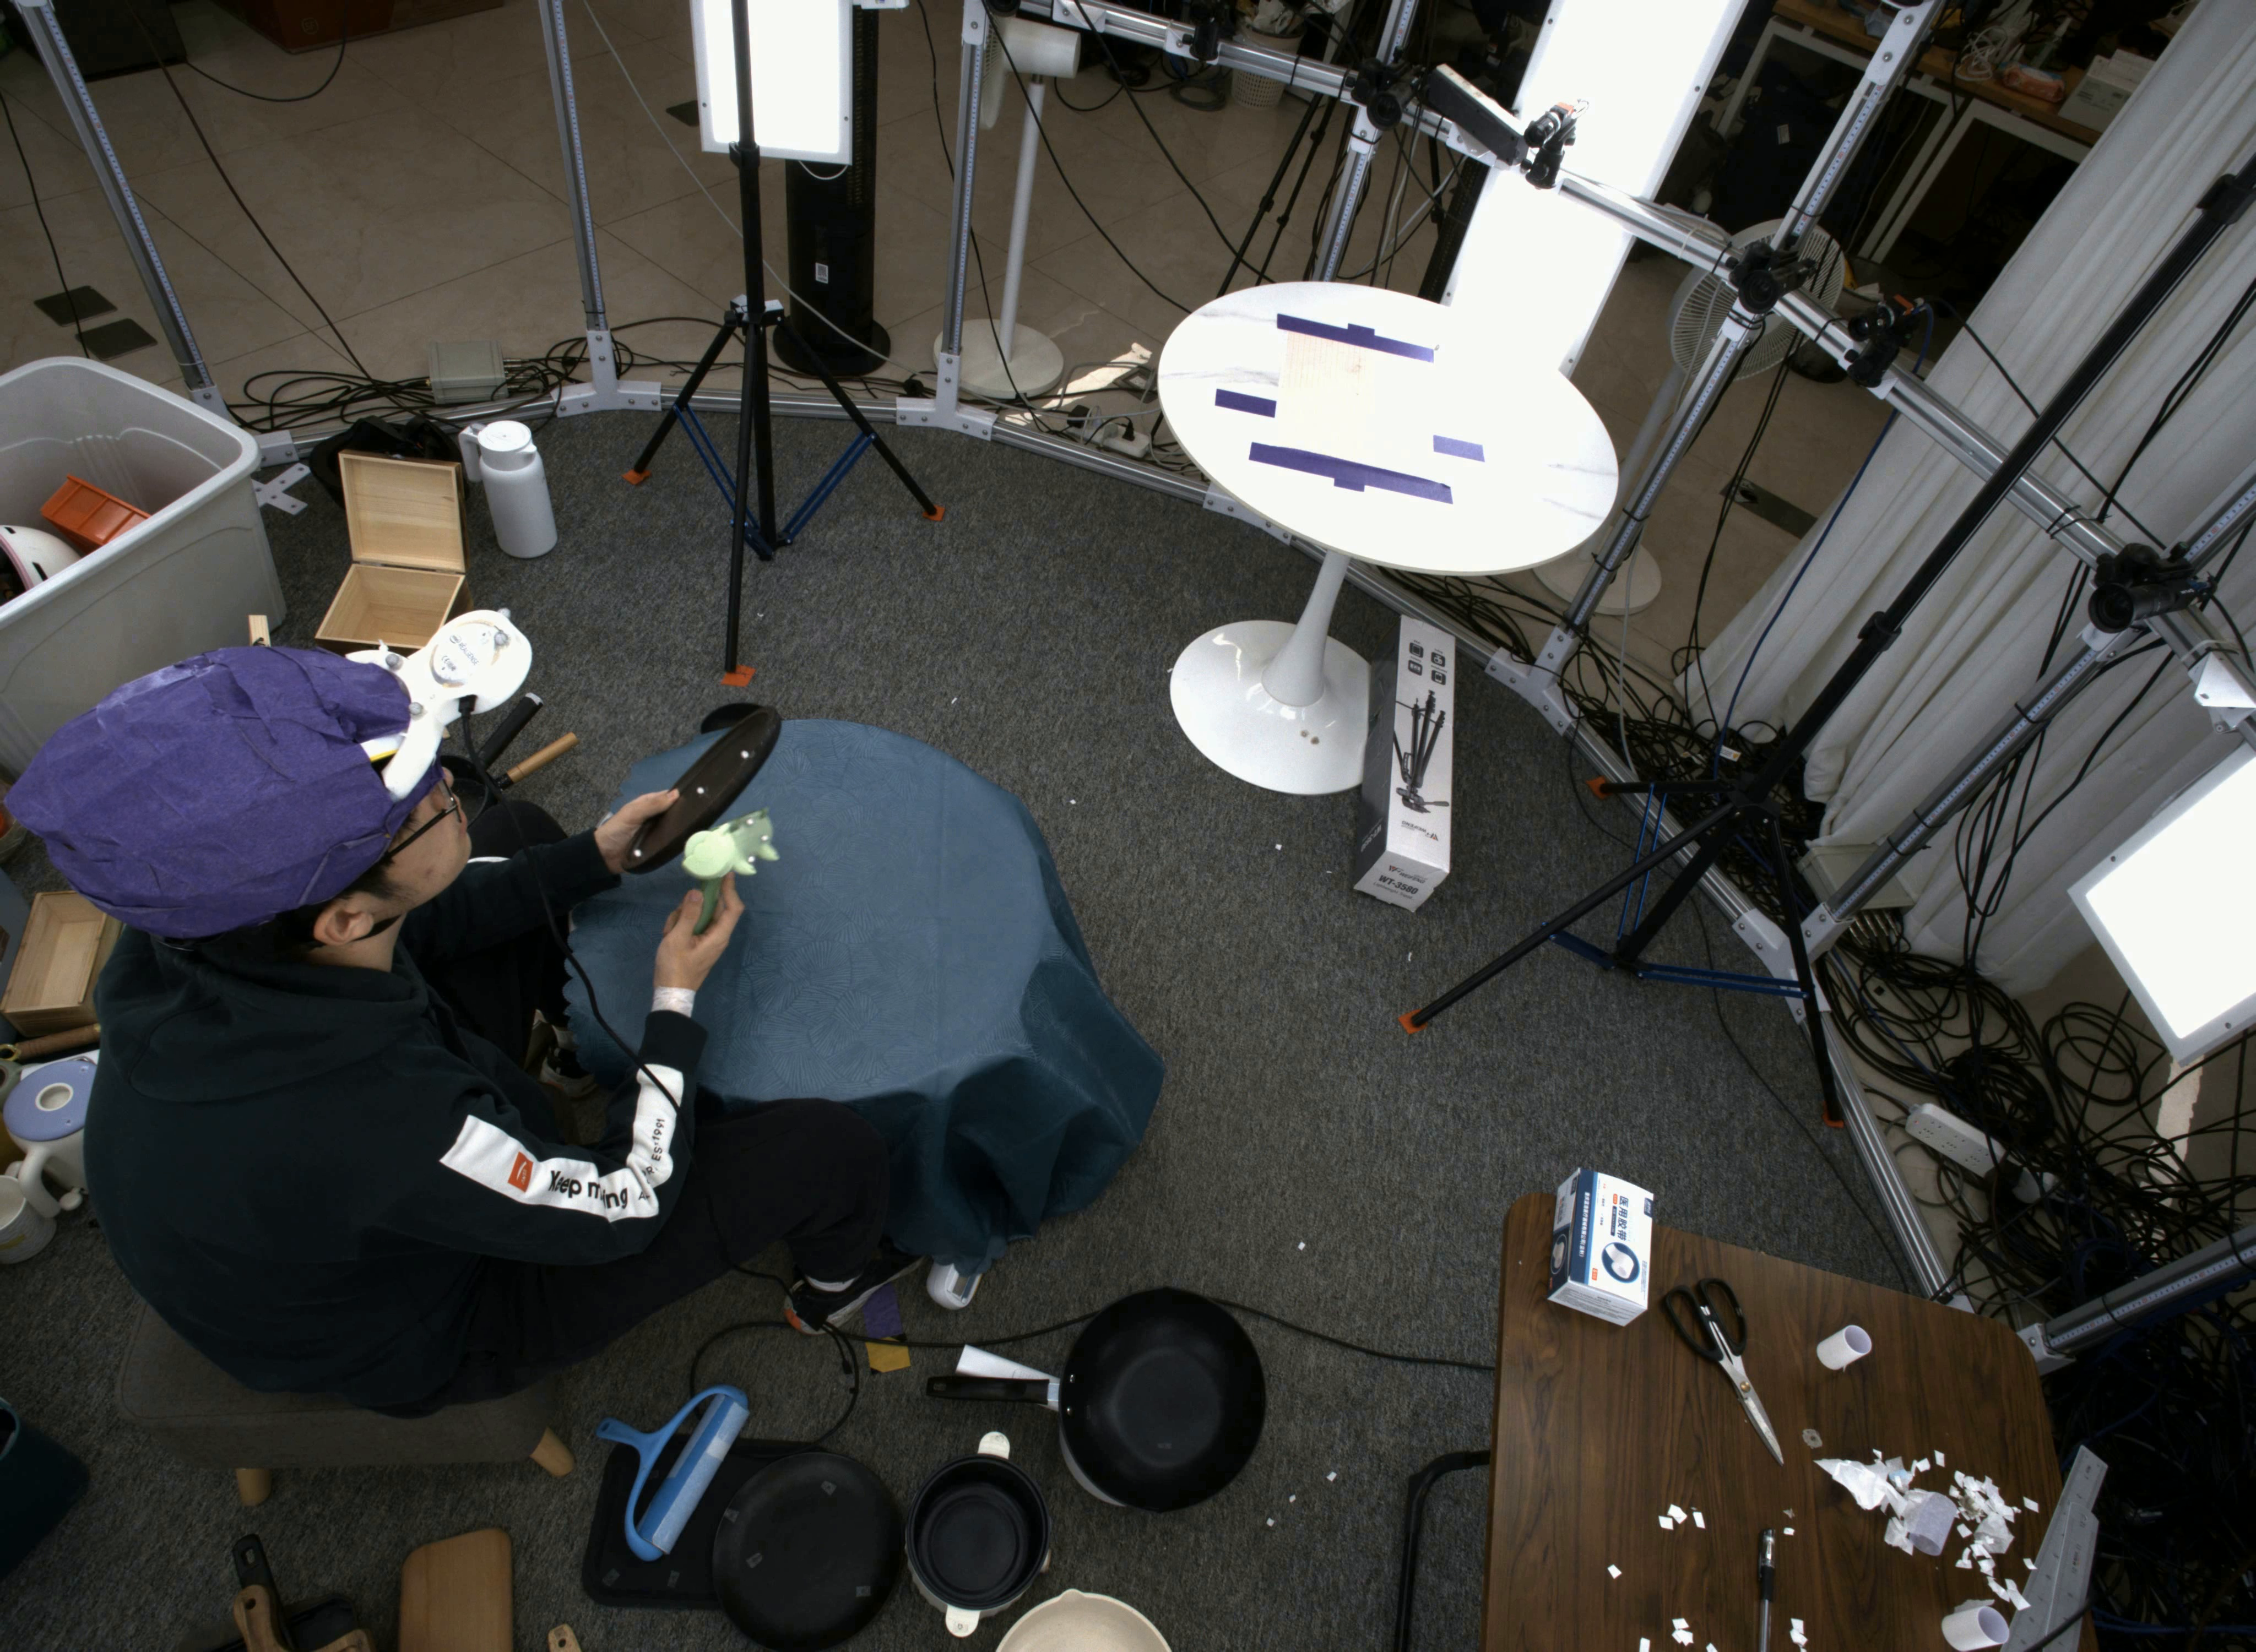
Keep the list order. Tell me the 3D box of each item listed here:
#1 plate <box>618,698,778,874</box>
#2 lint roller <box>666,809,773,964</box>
[{"bbox_3d":[-0.492,-0.047,1.486,0.030,0.249,0.252,45,45,-26],"label":"plate"},{"bbox_3d":[-0.464,0.074,1.460,0.082,0.196,0.186,16,95,-5],"label":"lint roller"}]
